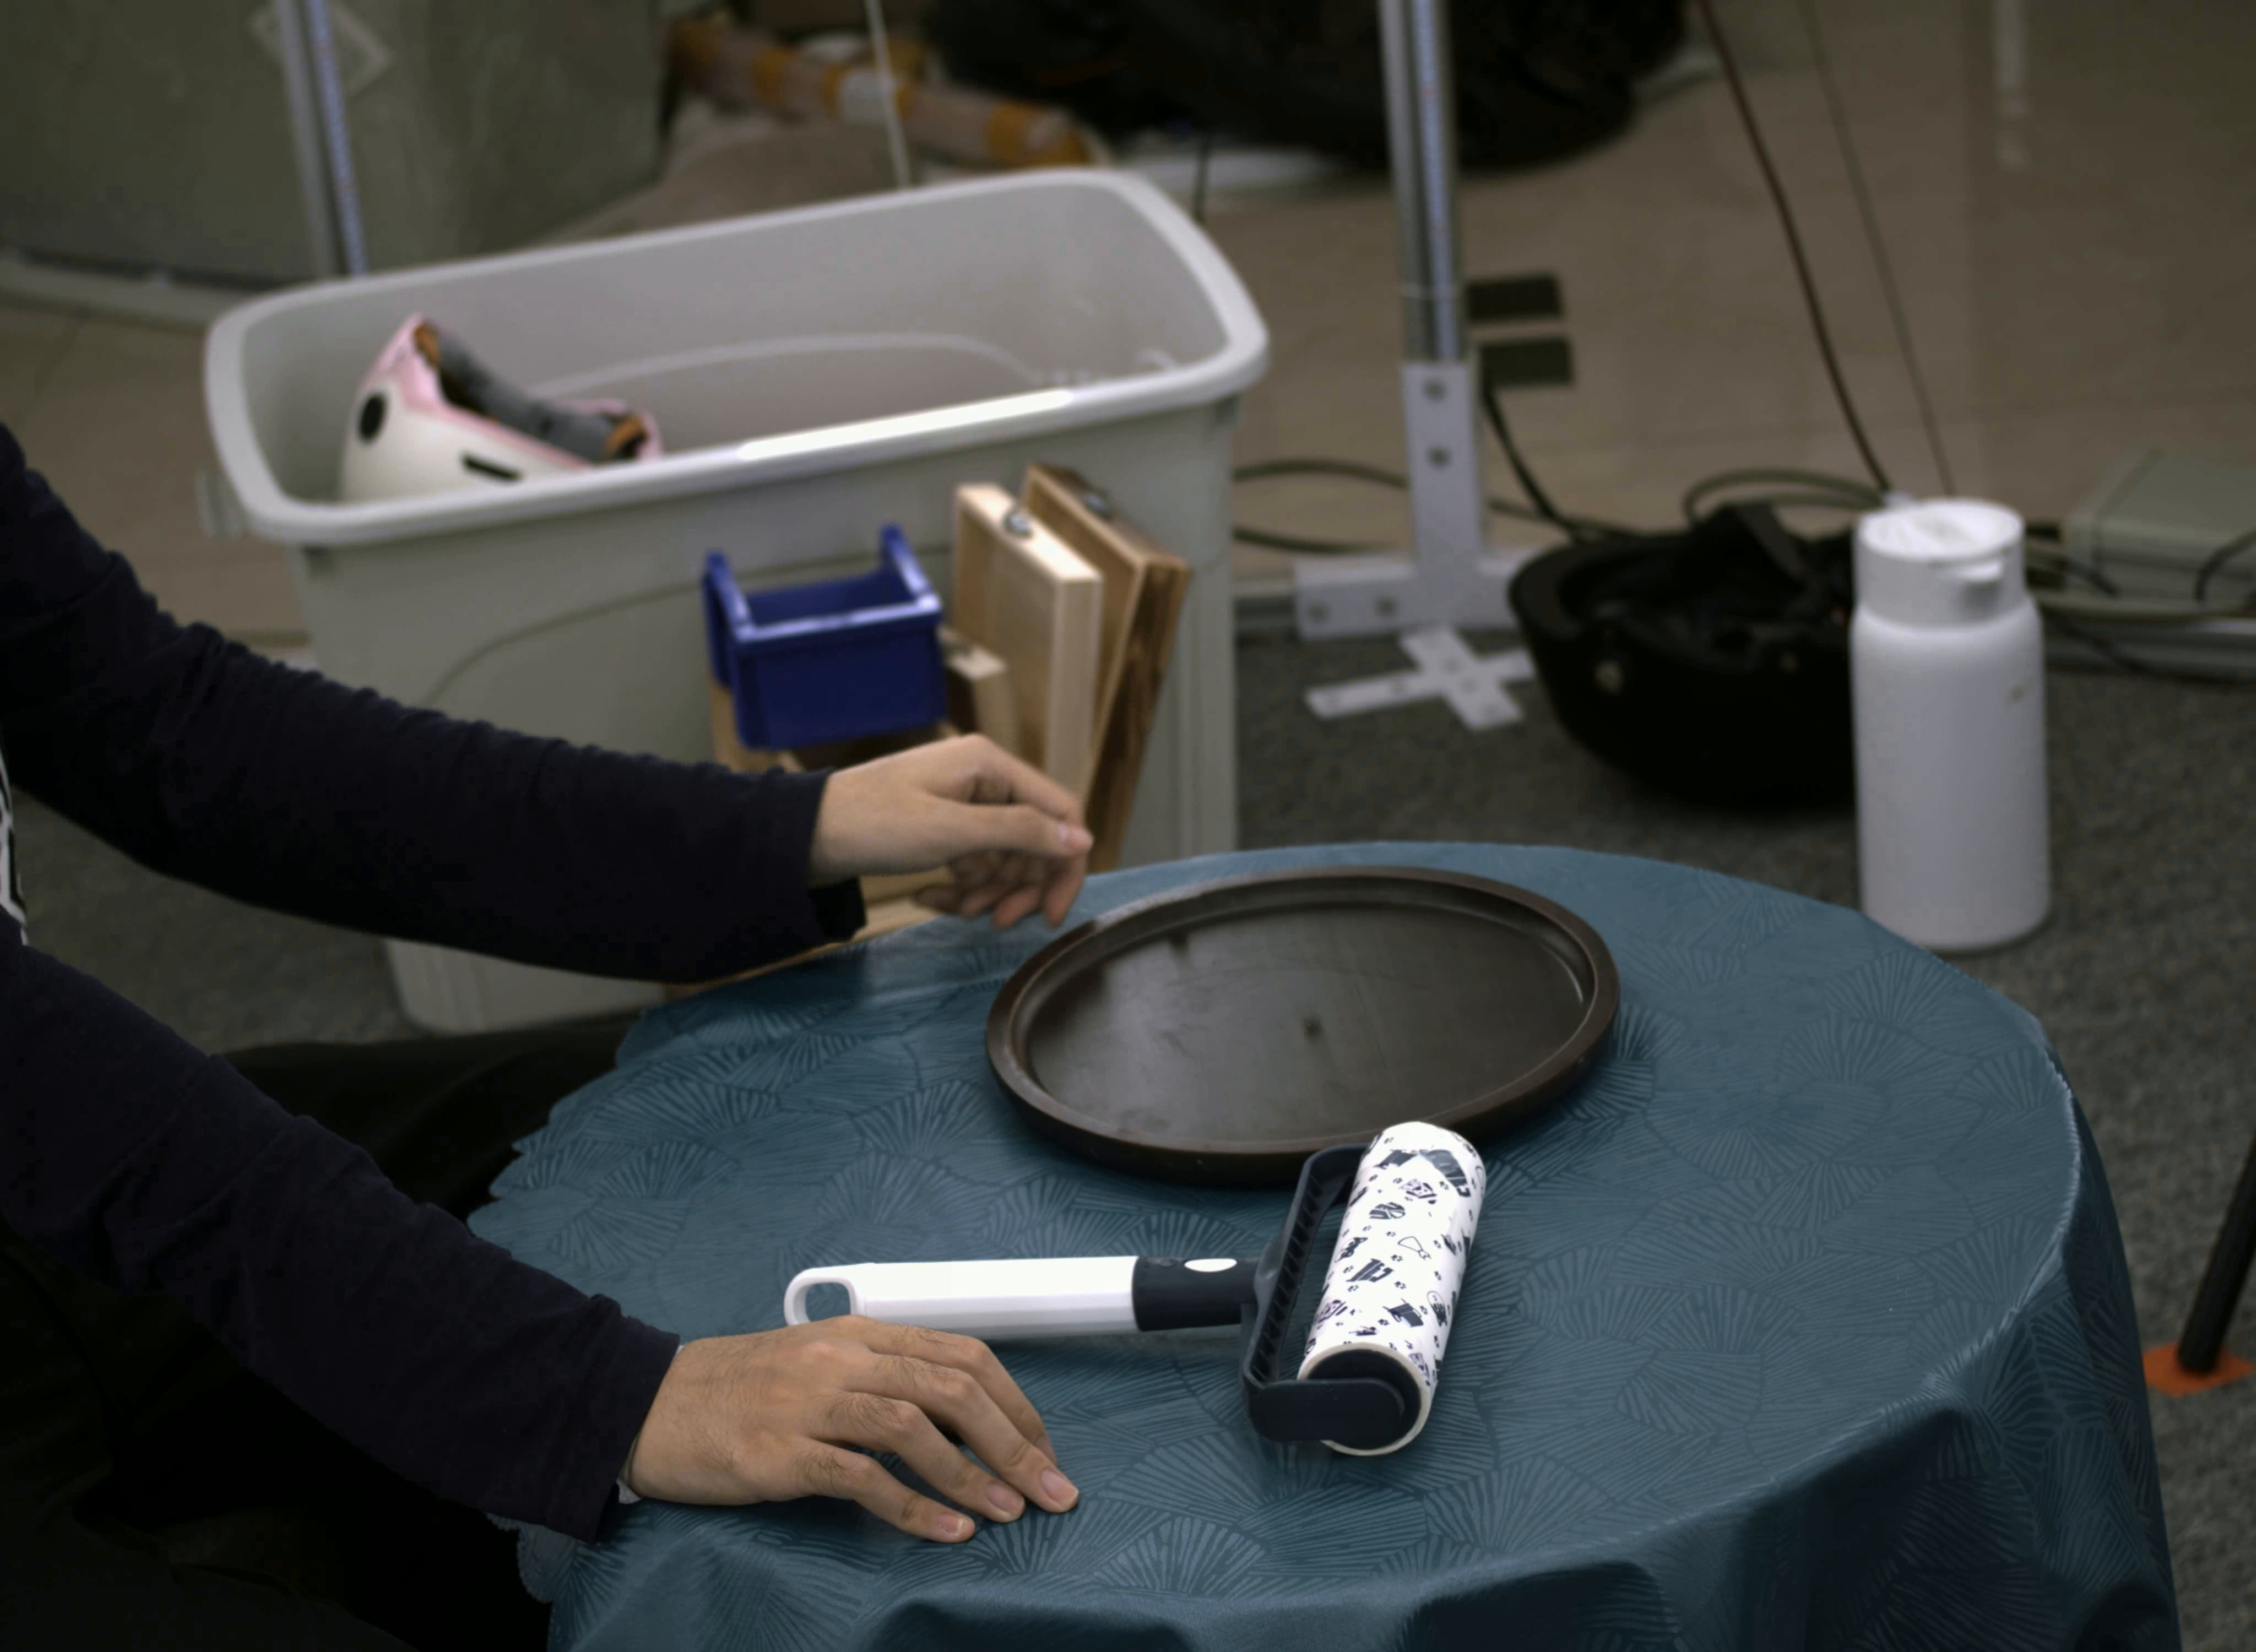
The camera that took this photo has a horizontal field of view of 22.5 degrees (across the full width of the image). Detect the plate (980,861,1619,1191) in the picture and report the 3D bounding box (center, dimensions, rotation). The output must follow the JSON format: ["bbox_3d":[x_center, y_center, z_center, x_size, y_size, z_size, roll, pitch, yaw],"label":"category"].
[{"bbox_3d":[0.068,0.078,2.240,0.254,0.029,0.251,-7,24,3],"label":"plate"}]

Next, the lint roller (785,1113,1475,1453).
[{"bbox_3d":[-0.006,0.168,2.040,0.246,0.051,0.173,-4,26,12],"label":"lint roller"}]
